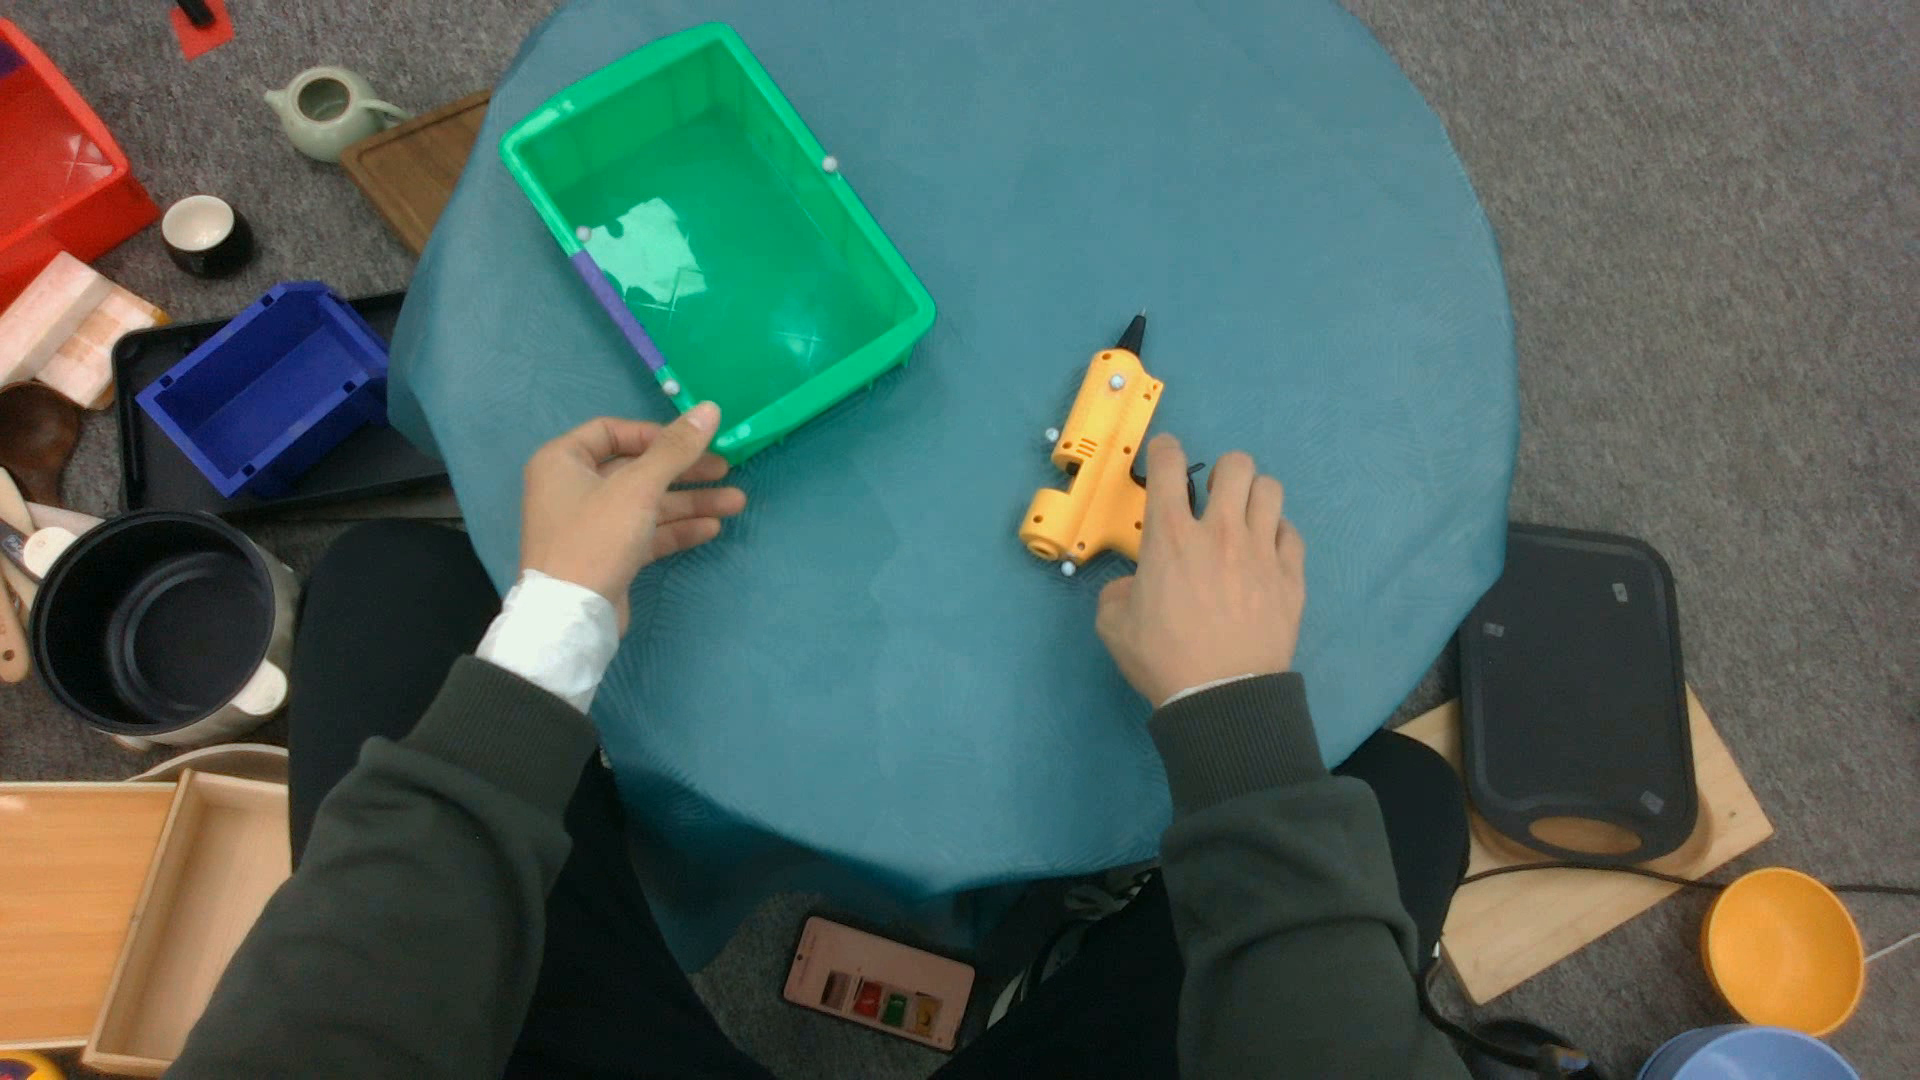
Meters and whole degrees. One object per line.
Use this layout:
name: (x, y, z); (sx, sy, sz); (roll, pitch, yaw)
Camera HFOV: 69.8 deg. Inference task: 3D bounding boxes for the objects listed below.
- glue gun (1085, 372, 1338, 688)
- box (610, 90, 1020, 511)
glue gun: (0.153, -0.012, 0.744); (0.133, 0.031, 0.152); (22, 73, 1)
box: (-0.077, -0.125, 0.743); (0.139, 0.065, 0.210); (-33, 80, -10)
